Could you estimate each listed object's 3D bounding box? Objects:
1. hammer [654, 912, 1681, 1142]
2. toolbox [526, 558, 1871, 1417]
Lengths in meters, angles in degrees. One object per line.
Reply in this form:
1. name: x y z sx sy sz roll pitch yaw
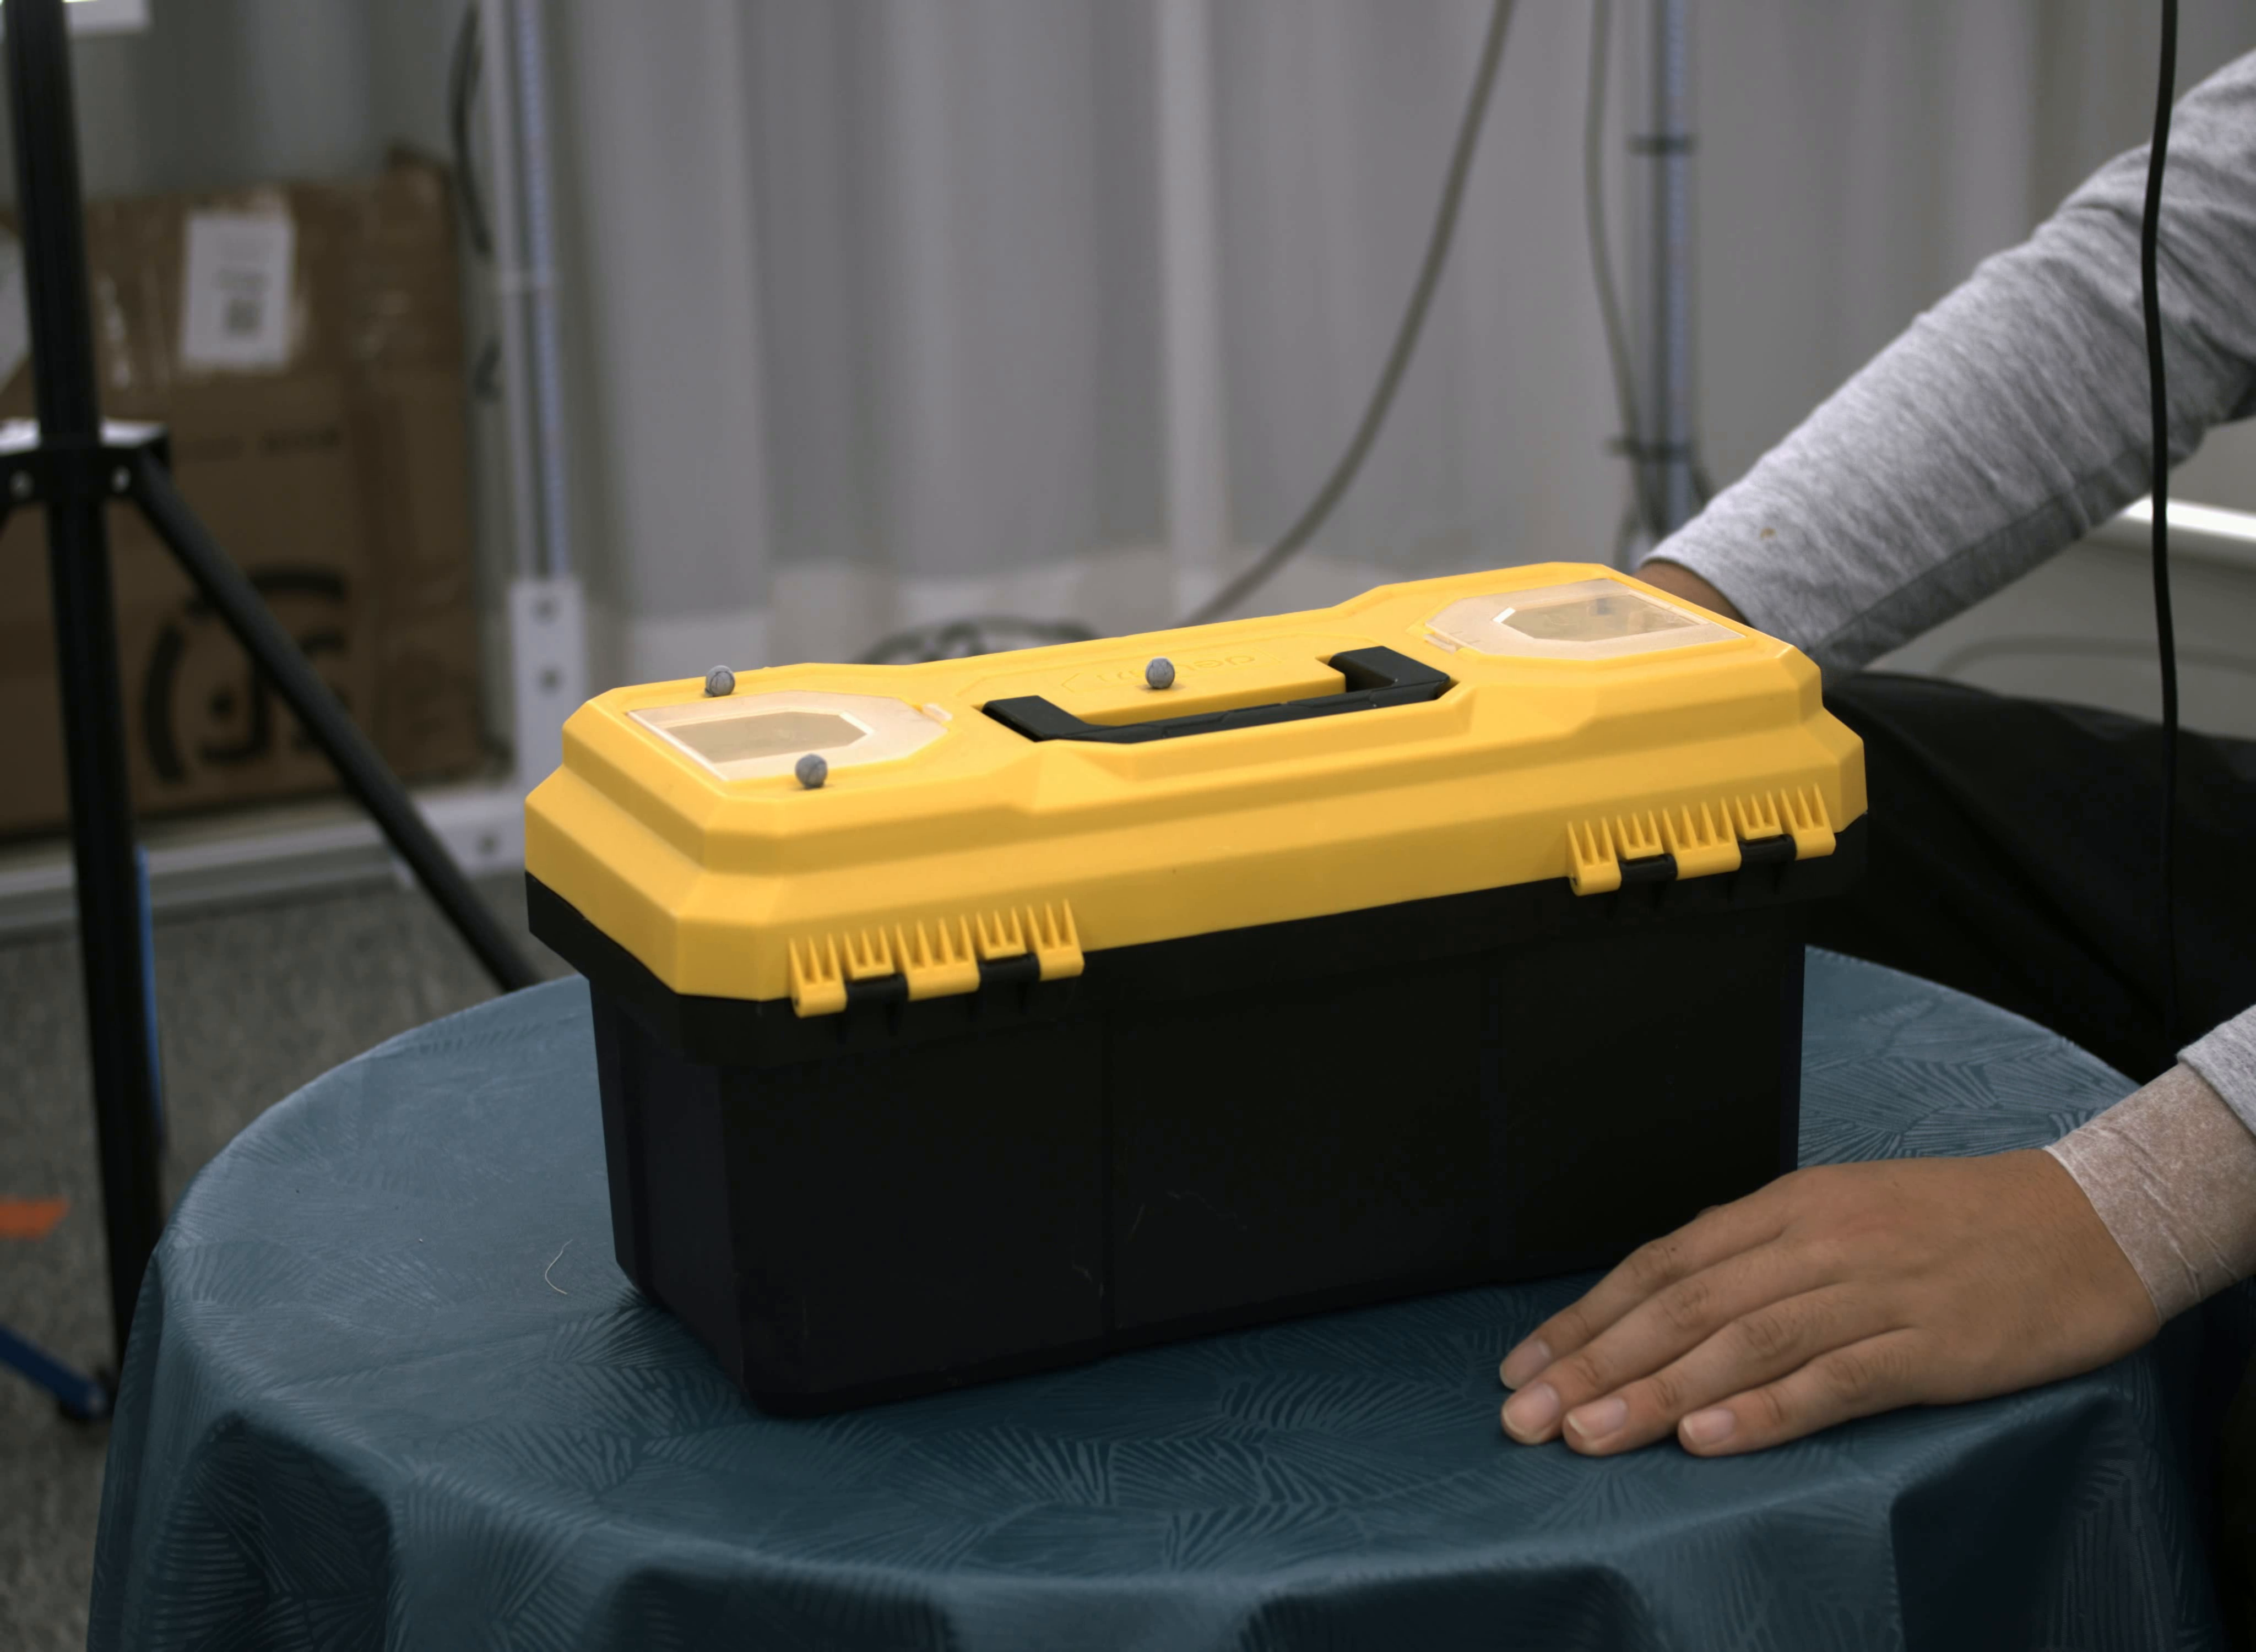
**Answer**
1. hammer: 0.016 0.054 1.697 0.333 0.032 0.133 -5 14 -12
2. toolbox: 0.020 0.039 1.478 0.345 0.173 0.184 -8 16 -19
